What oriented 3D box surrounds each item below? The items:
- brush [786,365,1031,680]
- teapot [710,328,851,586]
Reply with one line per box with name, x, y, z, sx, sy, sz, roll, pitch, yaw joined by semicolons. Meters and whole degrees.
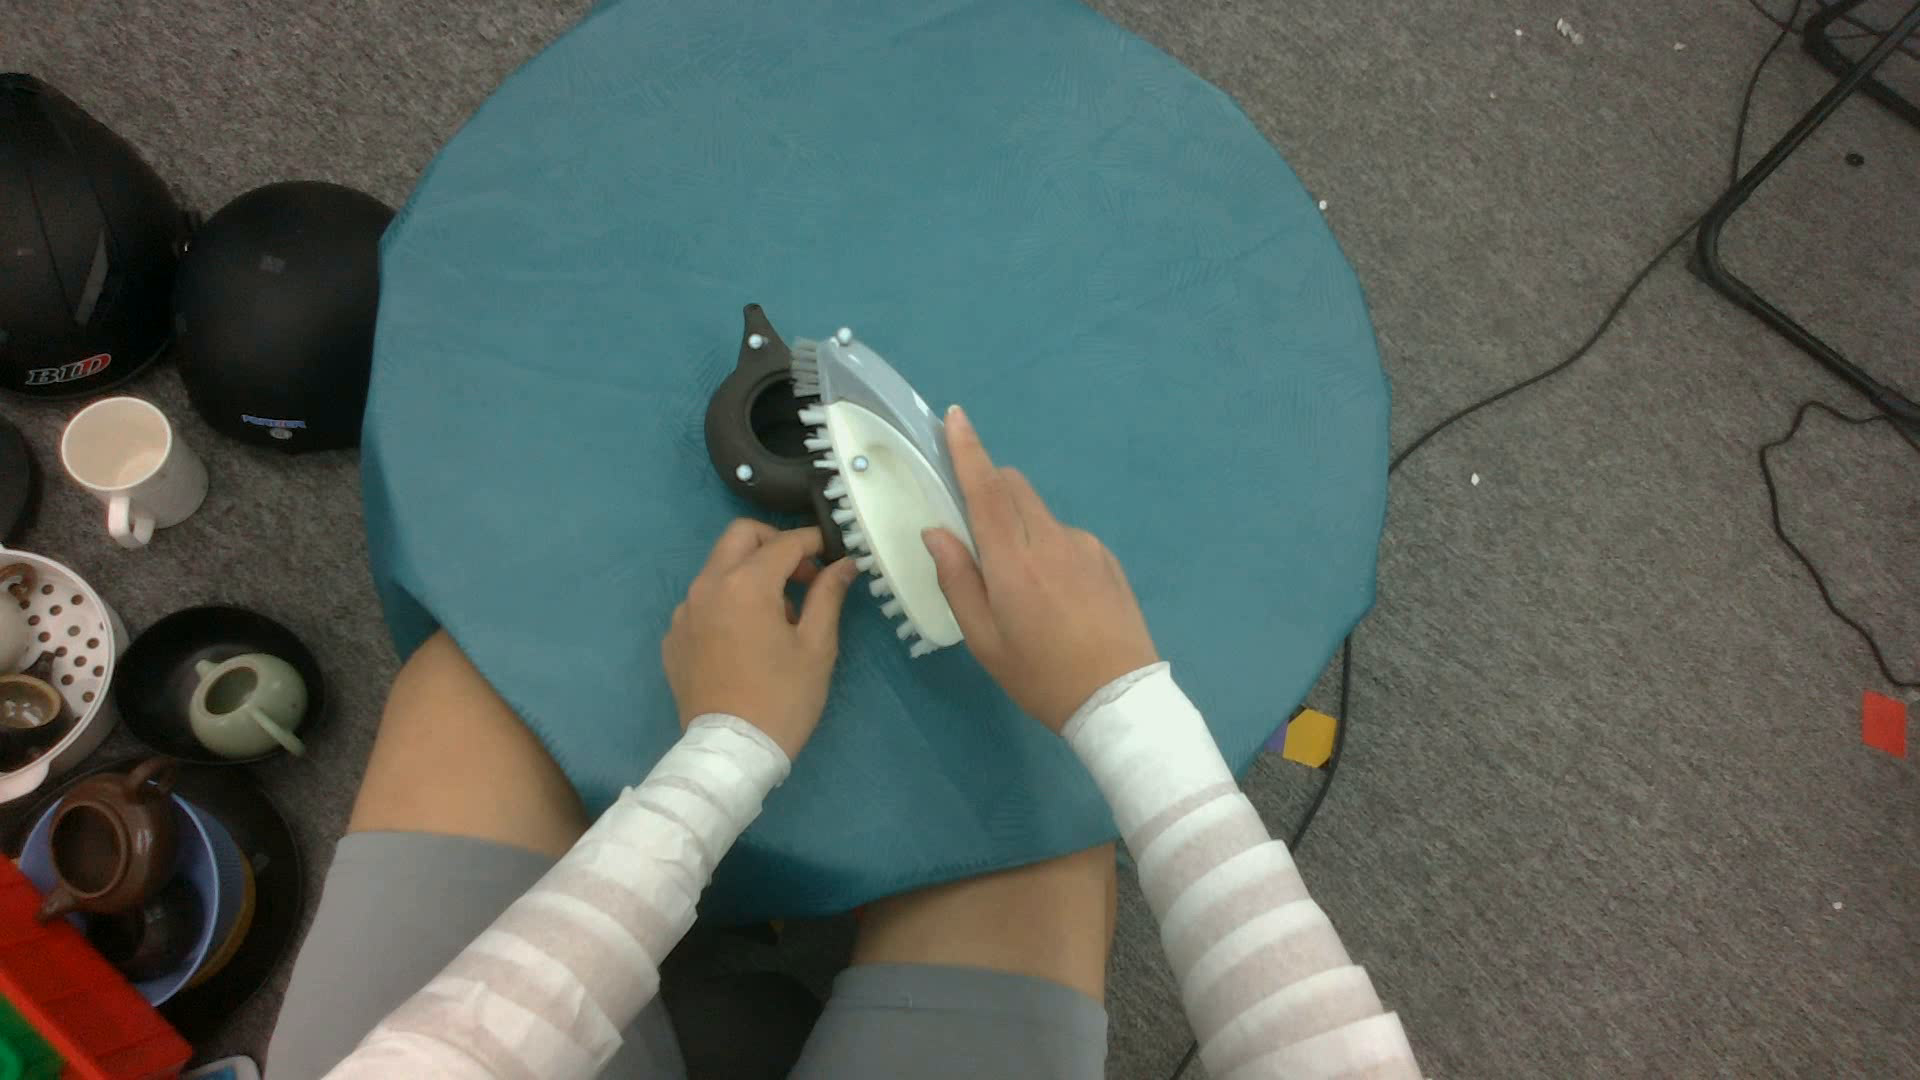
brush;-0.024;-0.019;0.700;0.062;0.094;0.175;-33;94;-38
teapot;-0.089;-0.044;0.760;0.092;0.064;0.154;-17;71;-16
